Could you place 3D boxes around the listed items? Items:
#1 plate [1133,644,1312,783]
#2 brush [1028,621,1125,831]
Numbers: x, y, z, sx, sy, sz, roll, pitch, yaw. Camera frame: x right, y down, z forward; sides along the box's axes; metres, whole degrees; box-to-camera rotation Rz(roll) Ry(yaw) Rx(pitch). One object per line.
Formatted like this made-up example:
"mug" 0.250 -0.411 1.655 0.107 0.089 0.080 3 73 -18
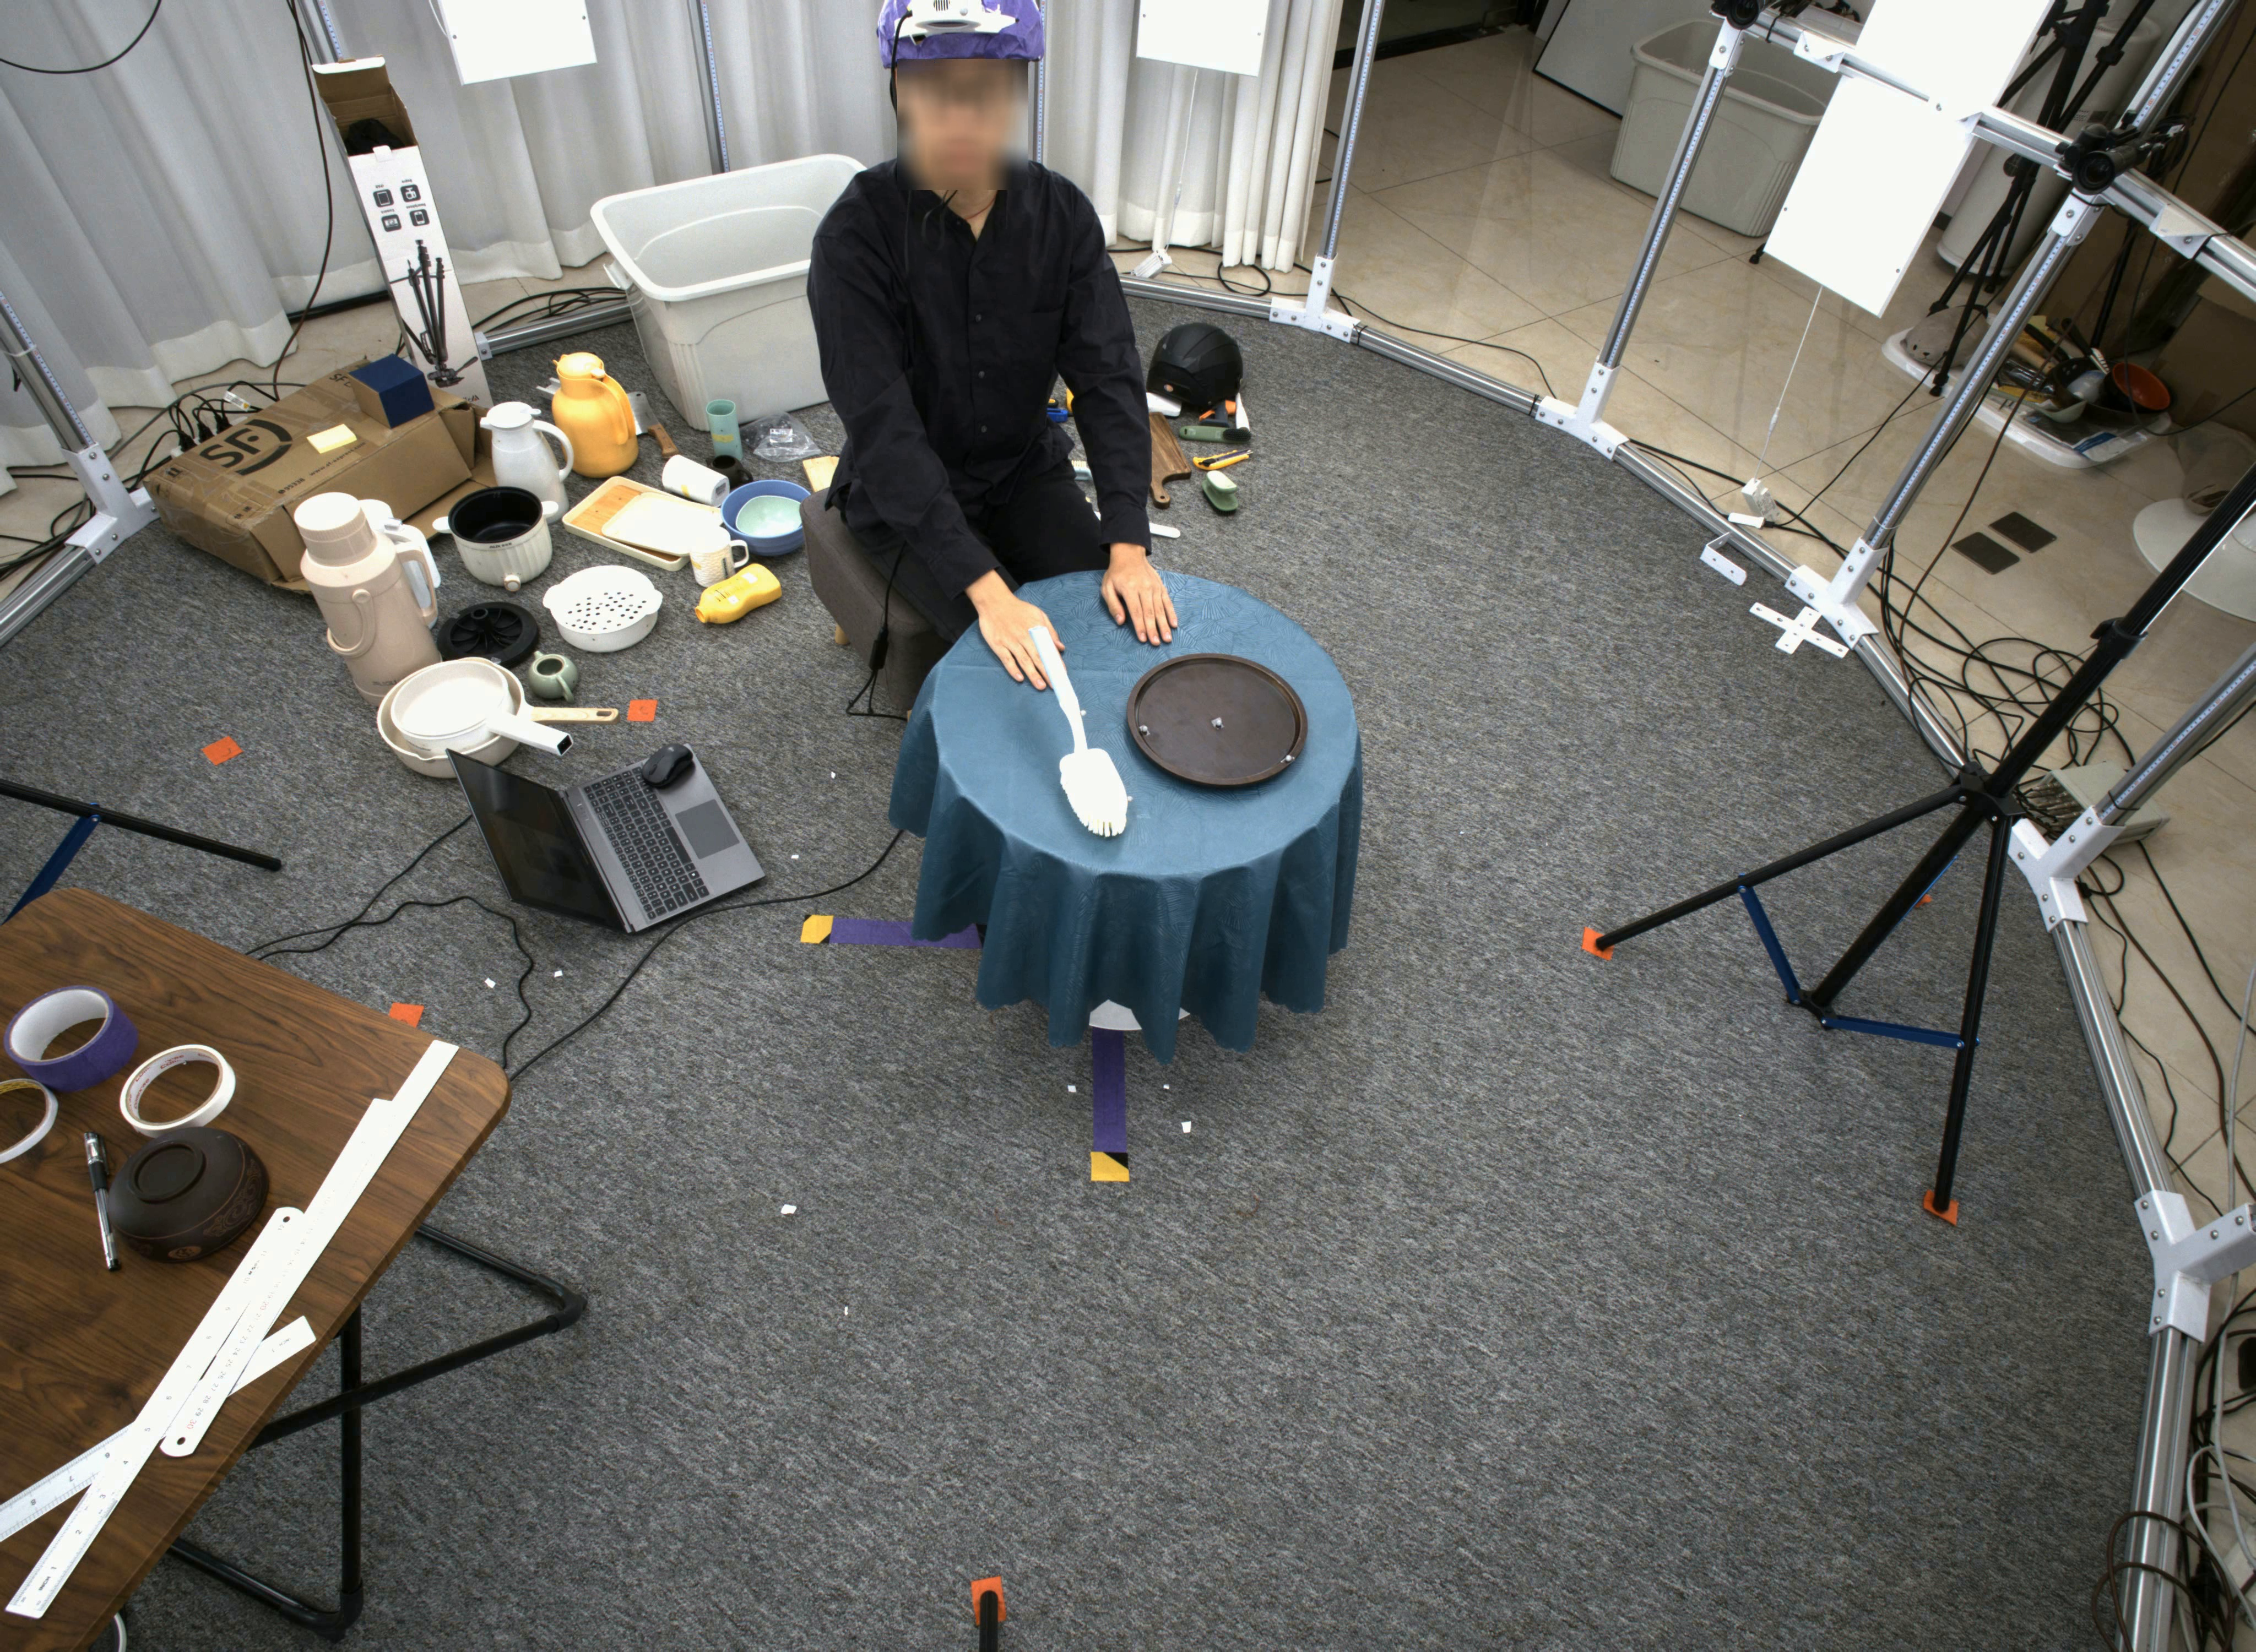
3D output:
"plate" 0.132 -0.158 1.799 0.254 0.028 0.261 1 51 -2
"brush" -0.073 -0.132 1.724 0.082 0.083 0.332 10 50 -48
